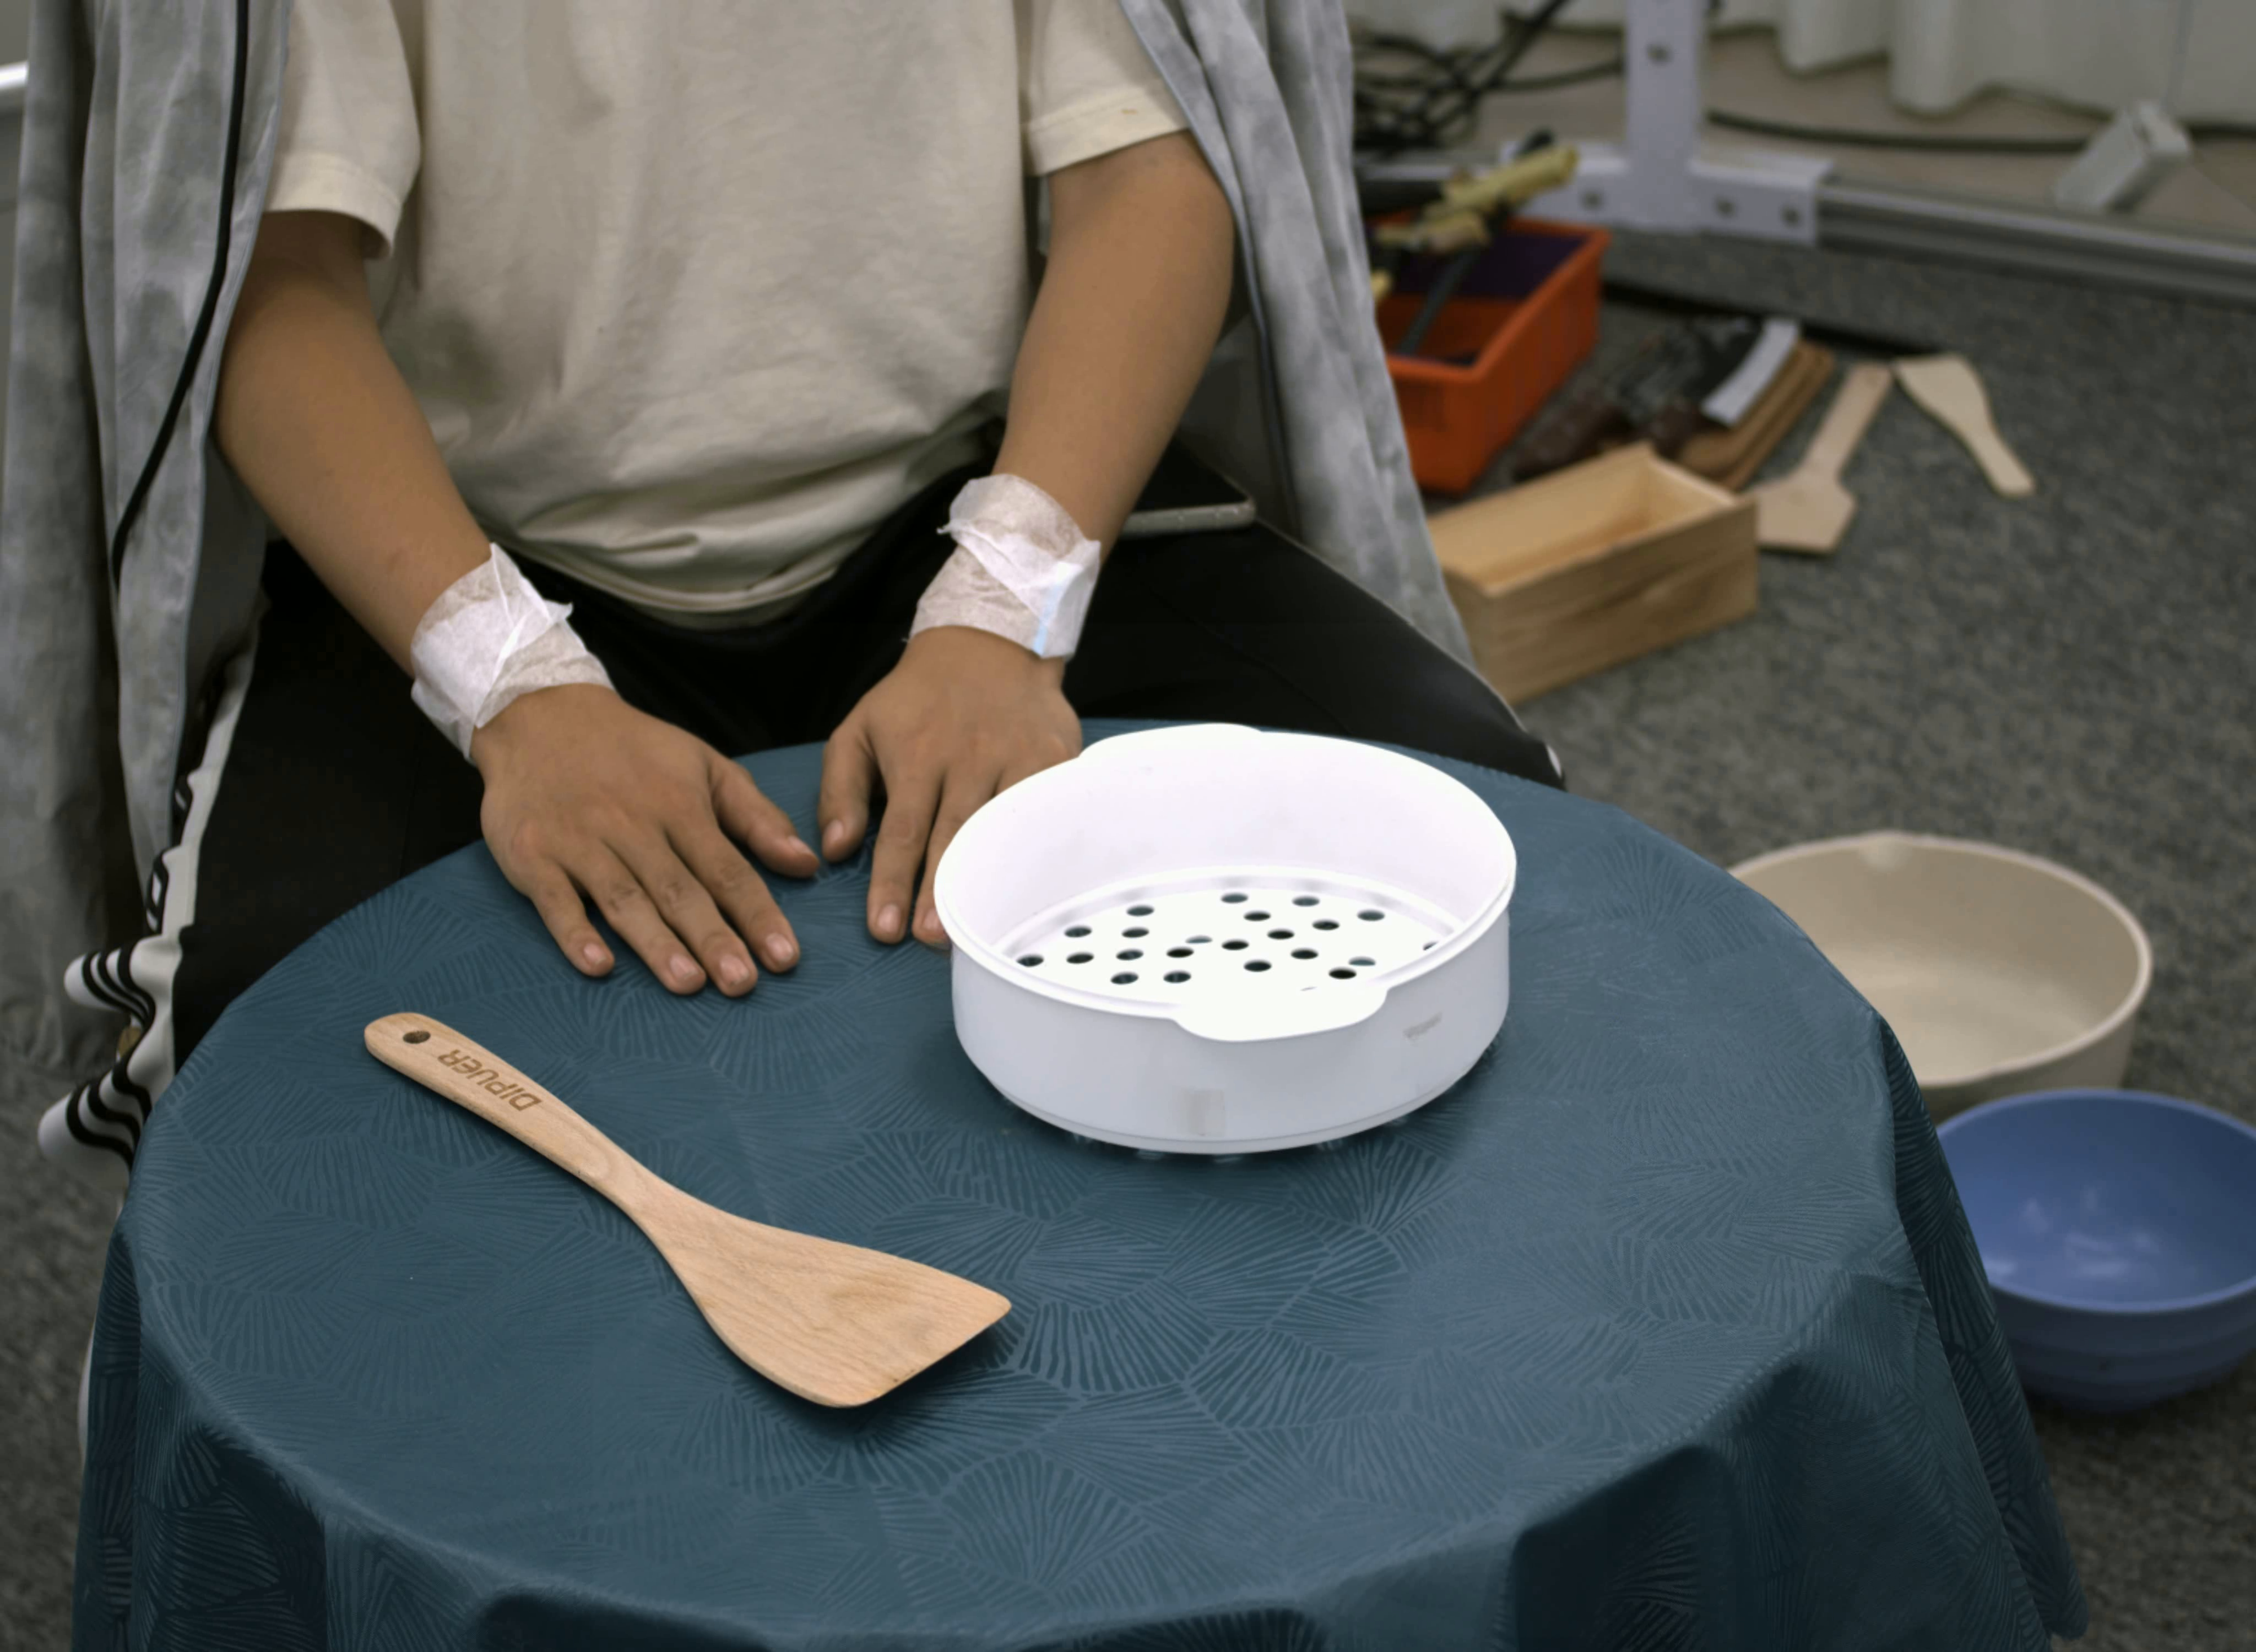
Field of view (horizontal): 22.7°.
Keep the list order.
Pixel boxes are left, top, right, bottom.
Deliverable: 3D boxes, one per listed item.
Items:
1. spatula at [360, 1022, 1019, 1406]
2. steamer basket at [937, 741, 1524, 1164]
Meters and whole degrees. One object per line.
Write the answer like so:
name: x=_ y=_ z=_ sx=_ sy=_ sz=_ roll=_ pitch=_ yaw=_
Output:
spatula: x=-0.158 y=0.121 z=1.858 sx=0.081 sy=0.016 sz=0.327 roll=-22 pitch=33 yaw=-34
steamer basket: x=0.036 y=0.045 z=1.936 sx=0.201 sy=0.068 sz=0.233 roll=-6 pitch=26 yaw=-8
